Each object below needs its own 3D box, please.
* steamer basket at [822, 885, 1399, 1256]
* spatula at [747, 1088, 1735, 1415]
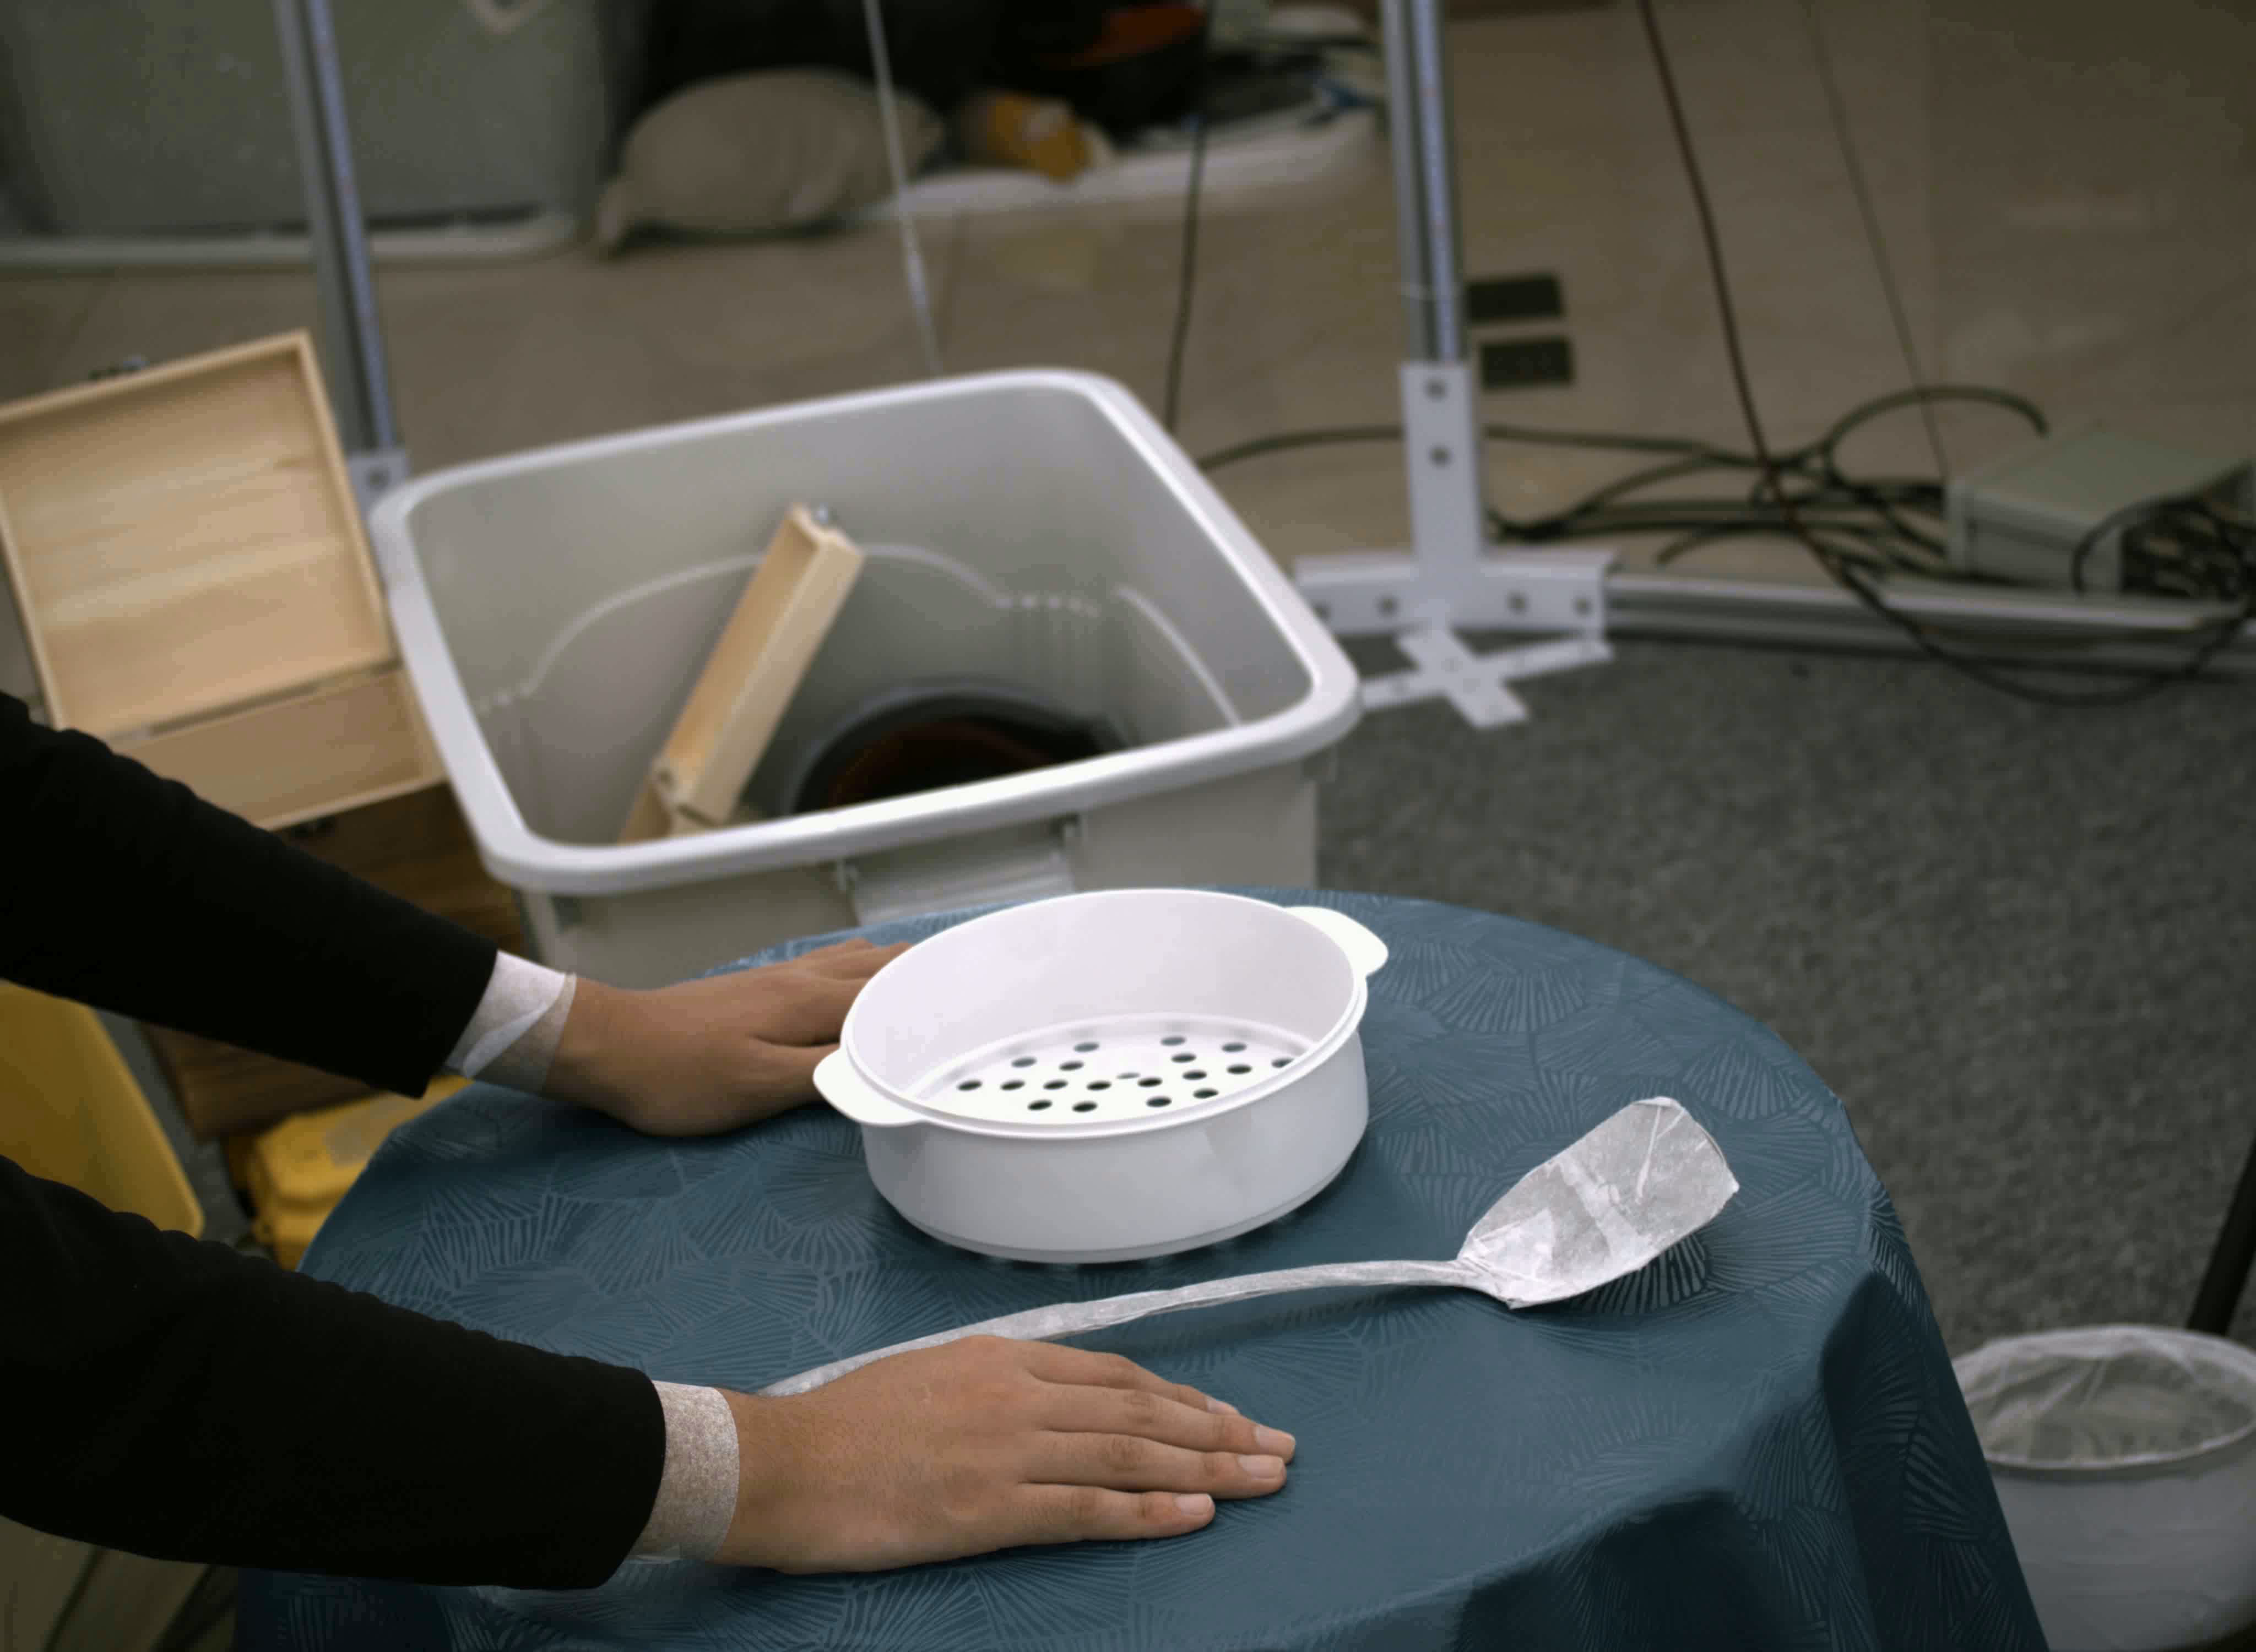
[{"bbox_3d":[-0.002,0.094,2.162,0.229,0.070,0.199,-18,26,-21],"label":"steamer basket"},{"bbox_3d":[0.040,0.162,2.043,0.364,0.045,0.097,-10,27,-7],"label":"spatula"}]
